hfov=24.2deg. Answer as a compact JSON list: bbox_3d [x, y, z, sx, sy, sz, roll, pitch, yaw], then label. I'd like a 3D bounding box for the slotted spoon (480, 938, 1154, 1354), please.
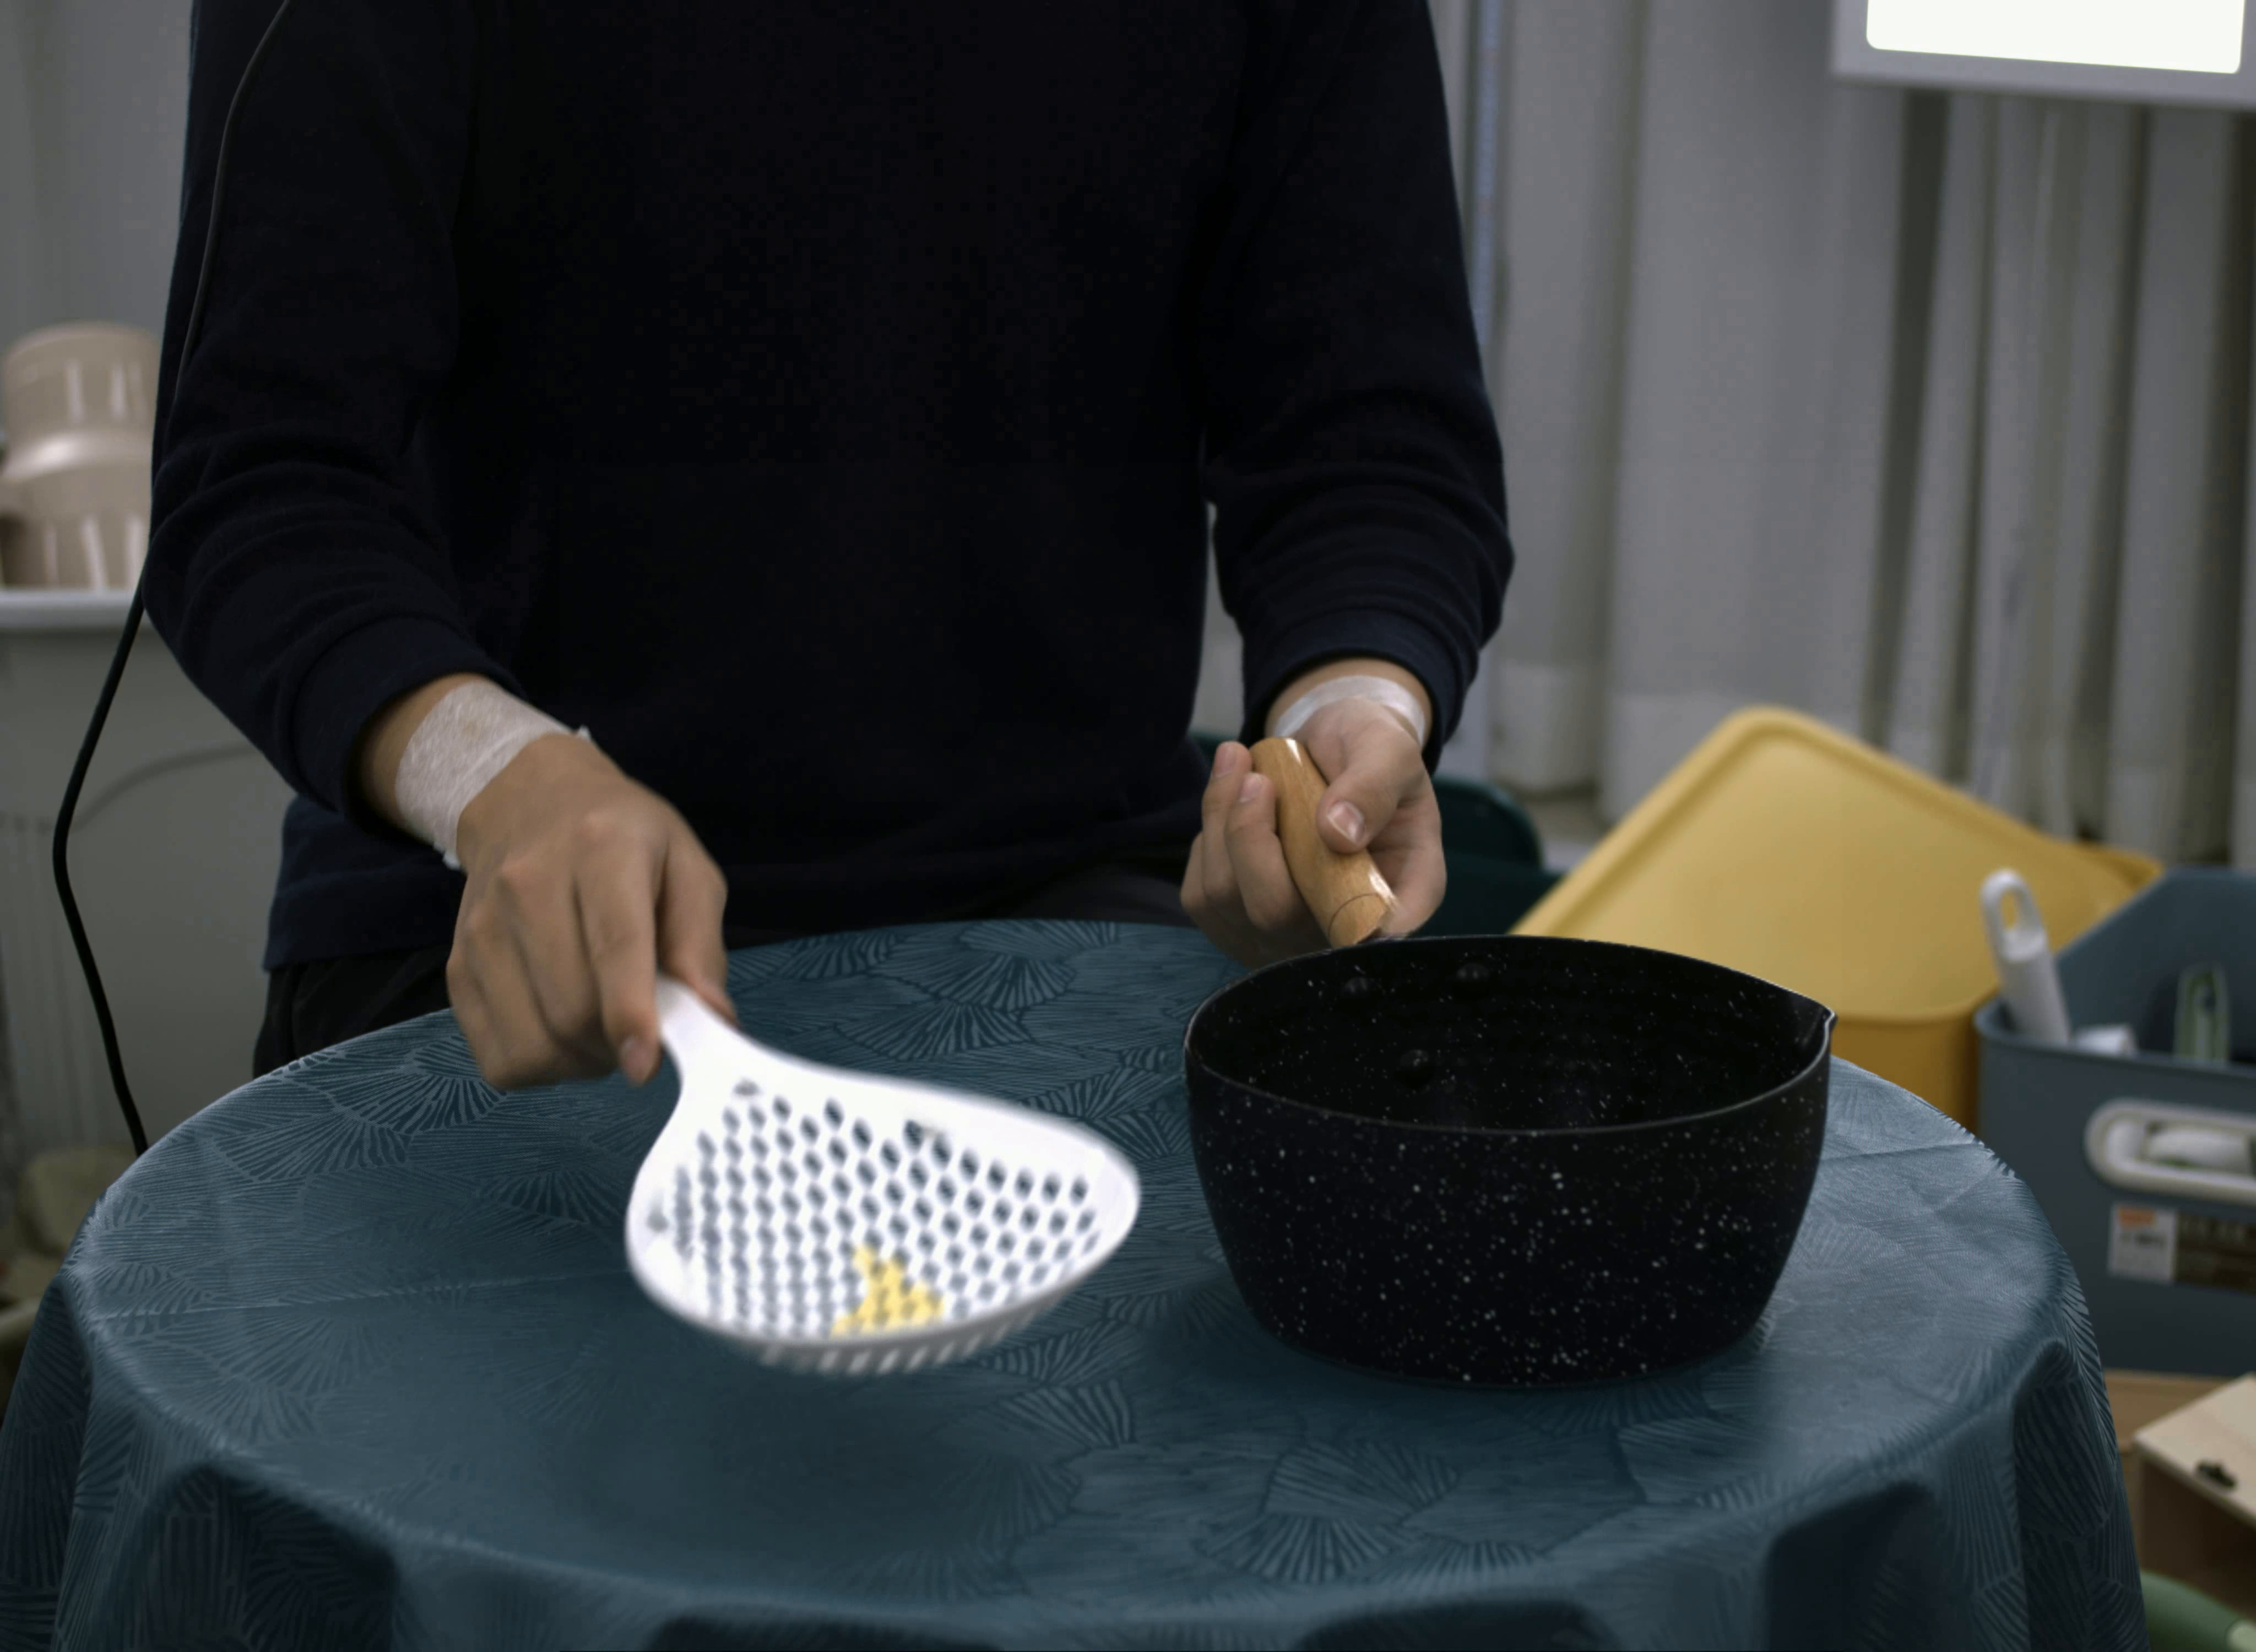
[{"bbox_3d":[-0.111,0.075,1.489,0.137,0.051,0.343,-17,28,-23],"label":"slotted spoon"}]

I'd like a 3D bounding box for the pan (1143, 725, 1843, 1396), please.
[{"bbox_3d":[0.088,0.065,1.591,0.208,0.109,0.339,-5,18,-15],"label":"pan"}]
